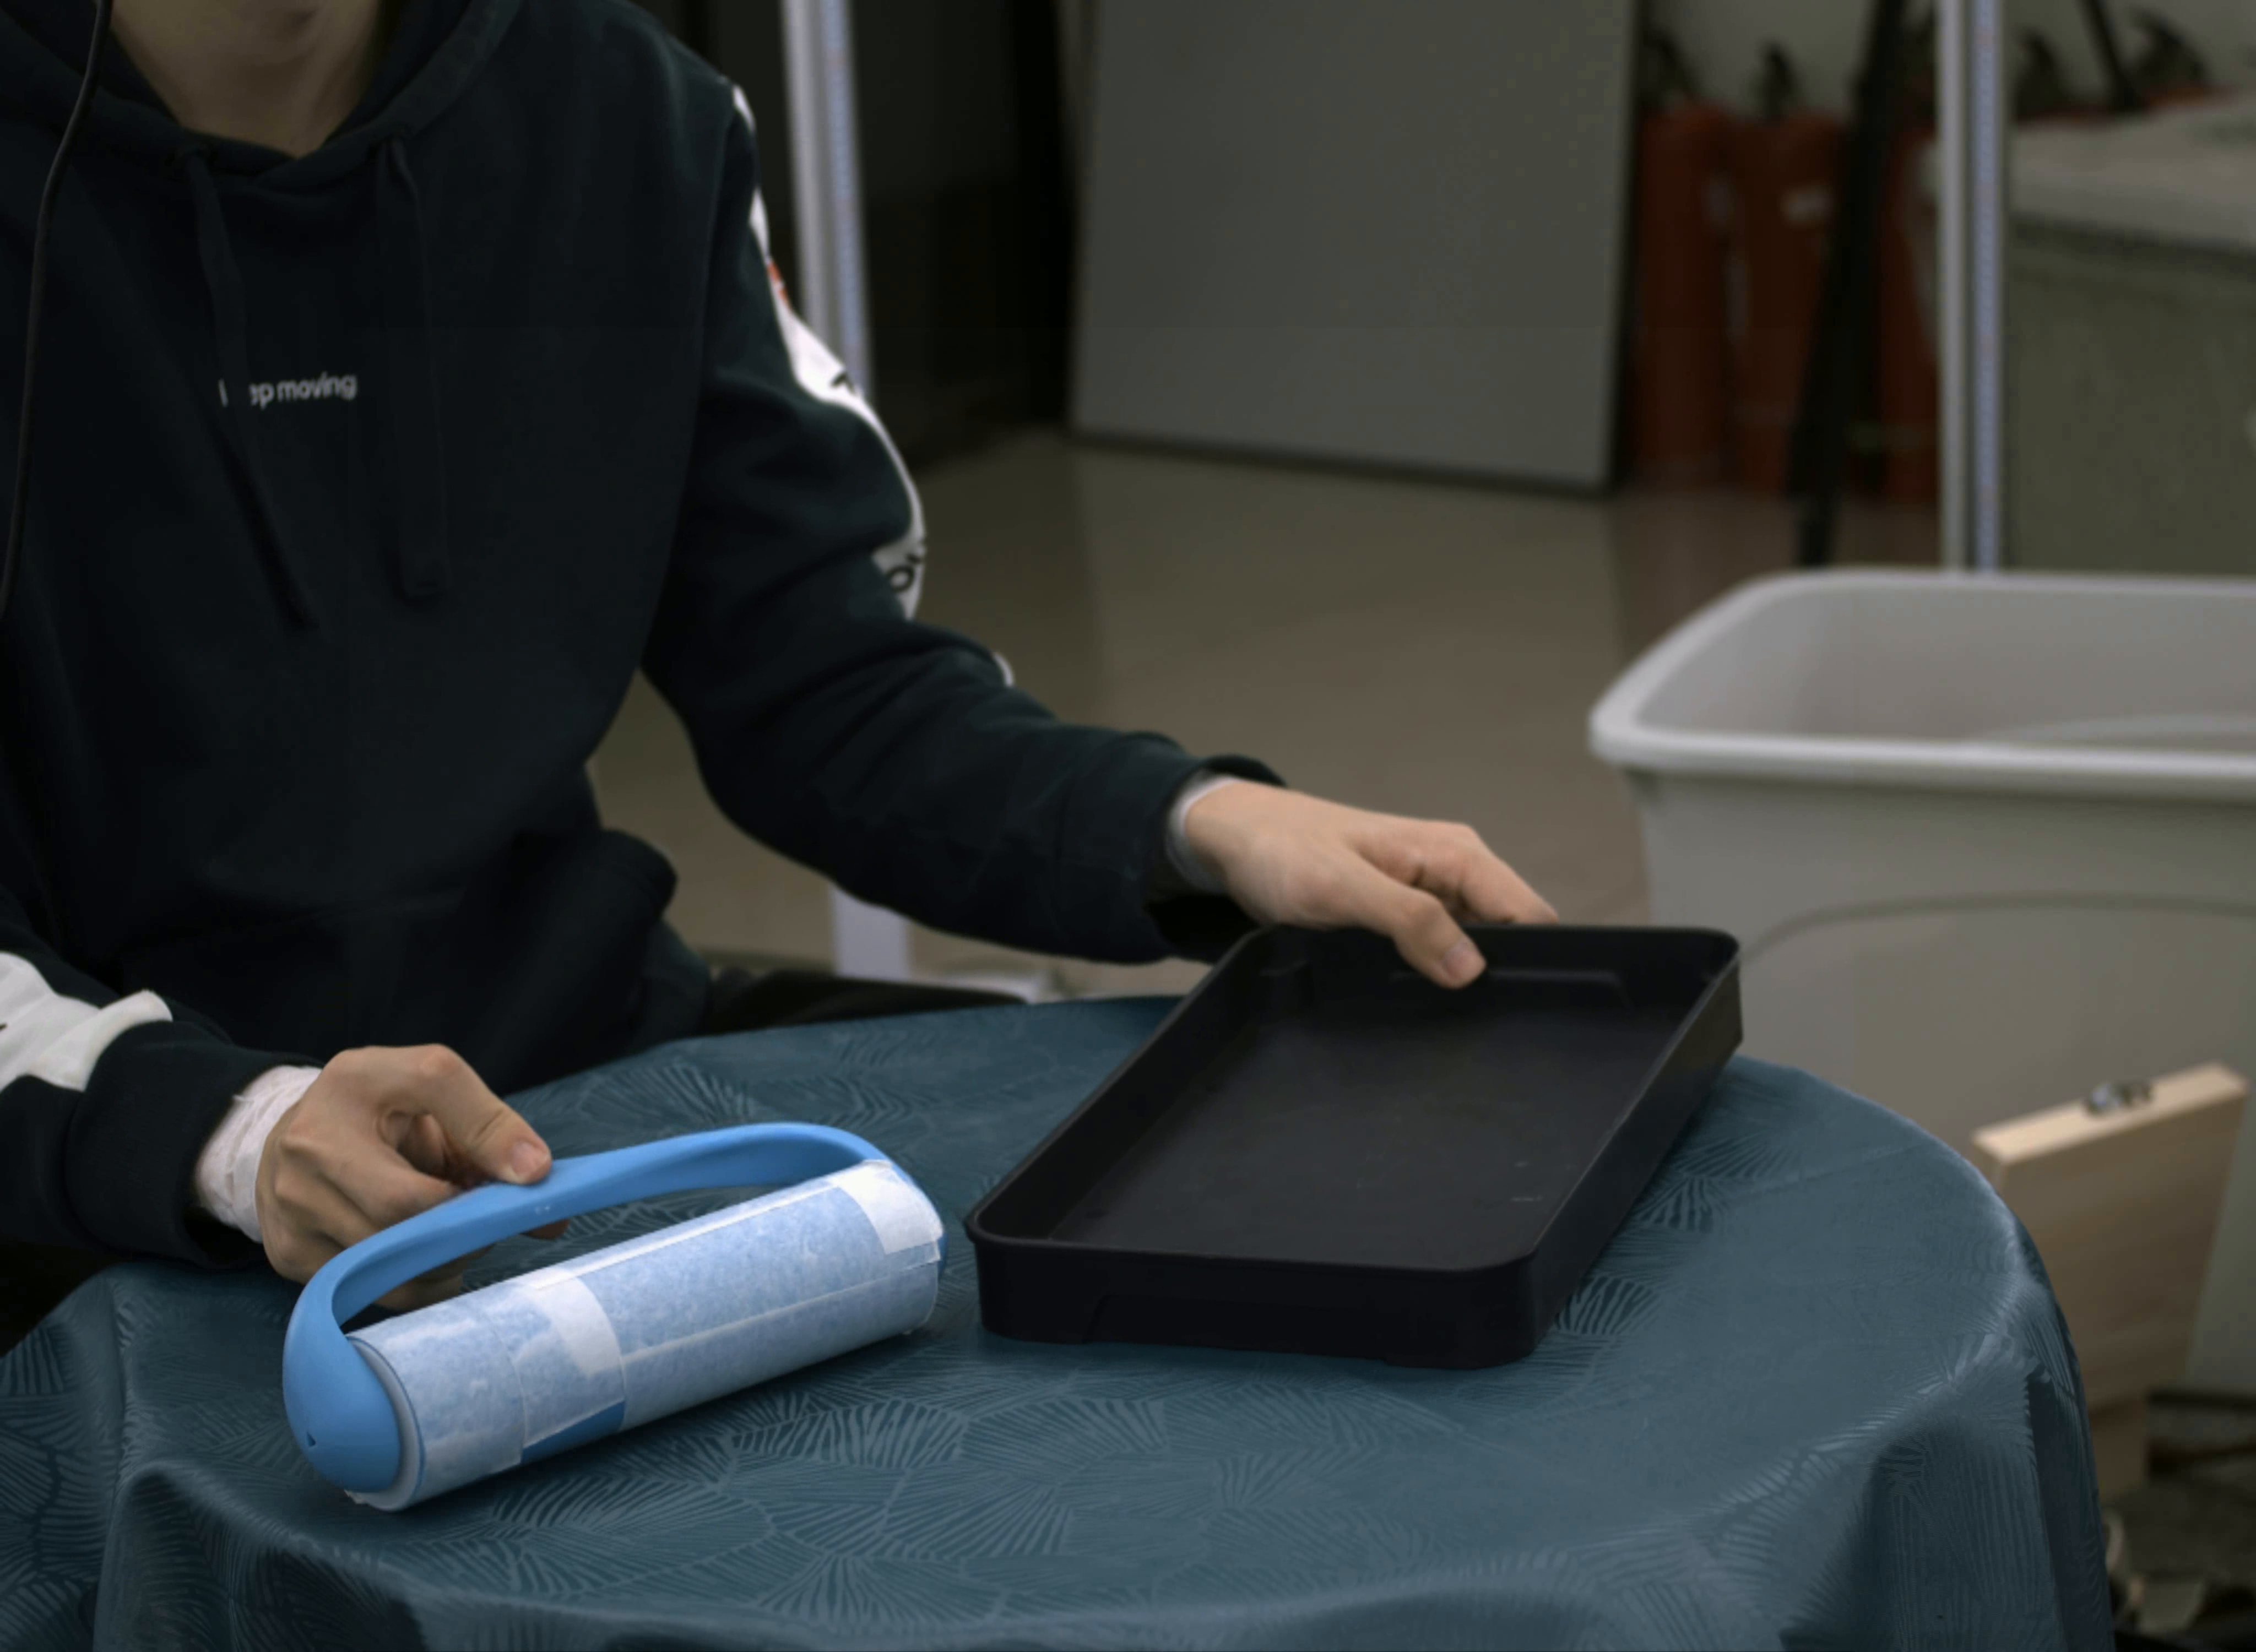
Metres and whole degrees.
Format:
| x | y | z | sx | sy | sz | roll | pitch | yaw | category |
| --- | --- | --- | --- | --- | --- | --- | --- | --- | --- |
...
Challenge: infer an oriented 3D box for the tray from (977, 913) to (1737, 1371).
| x | y | z | sx | sy | sz | roll | pitch | yaw | category |
| --- | --- | --- | --- | --- | --- | --- | --- | --- | --- |
| 0.083 | 0.096 | 1.749 | 0.184 | 0.037 | 0.315 | -1 | 18 | 19 | tray |

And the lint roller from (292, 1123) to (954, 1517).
| x | y | z | sx | sy | sz | roll | pitch | yaw | category |
| --- | --- | --- | --- | --- | --- | --- | --- | --- | --- |
| -0.183 | 0.135 | 1.628 | 0.224 | 0.068 | 0.182 | -19 | 25 | -40 | lint roller |
